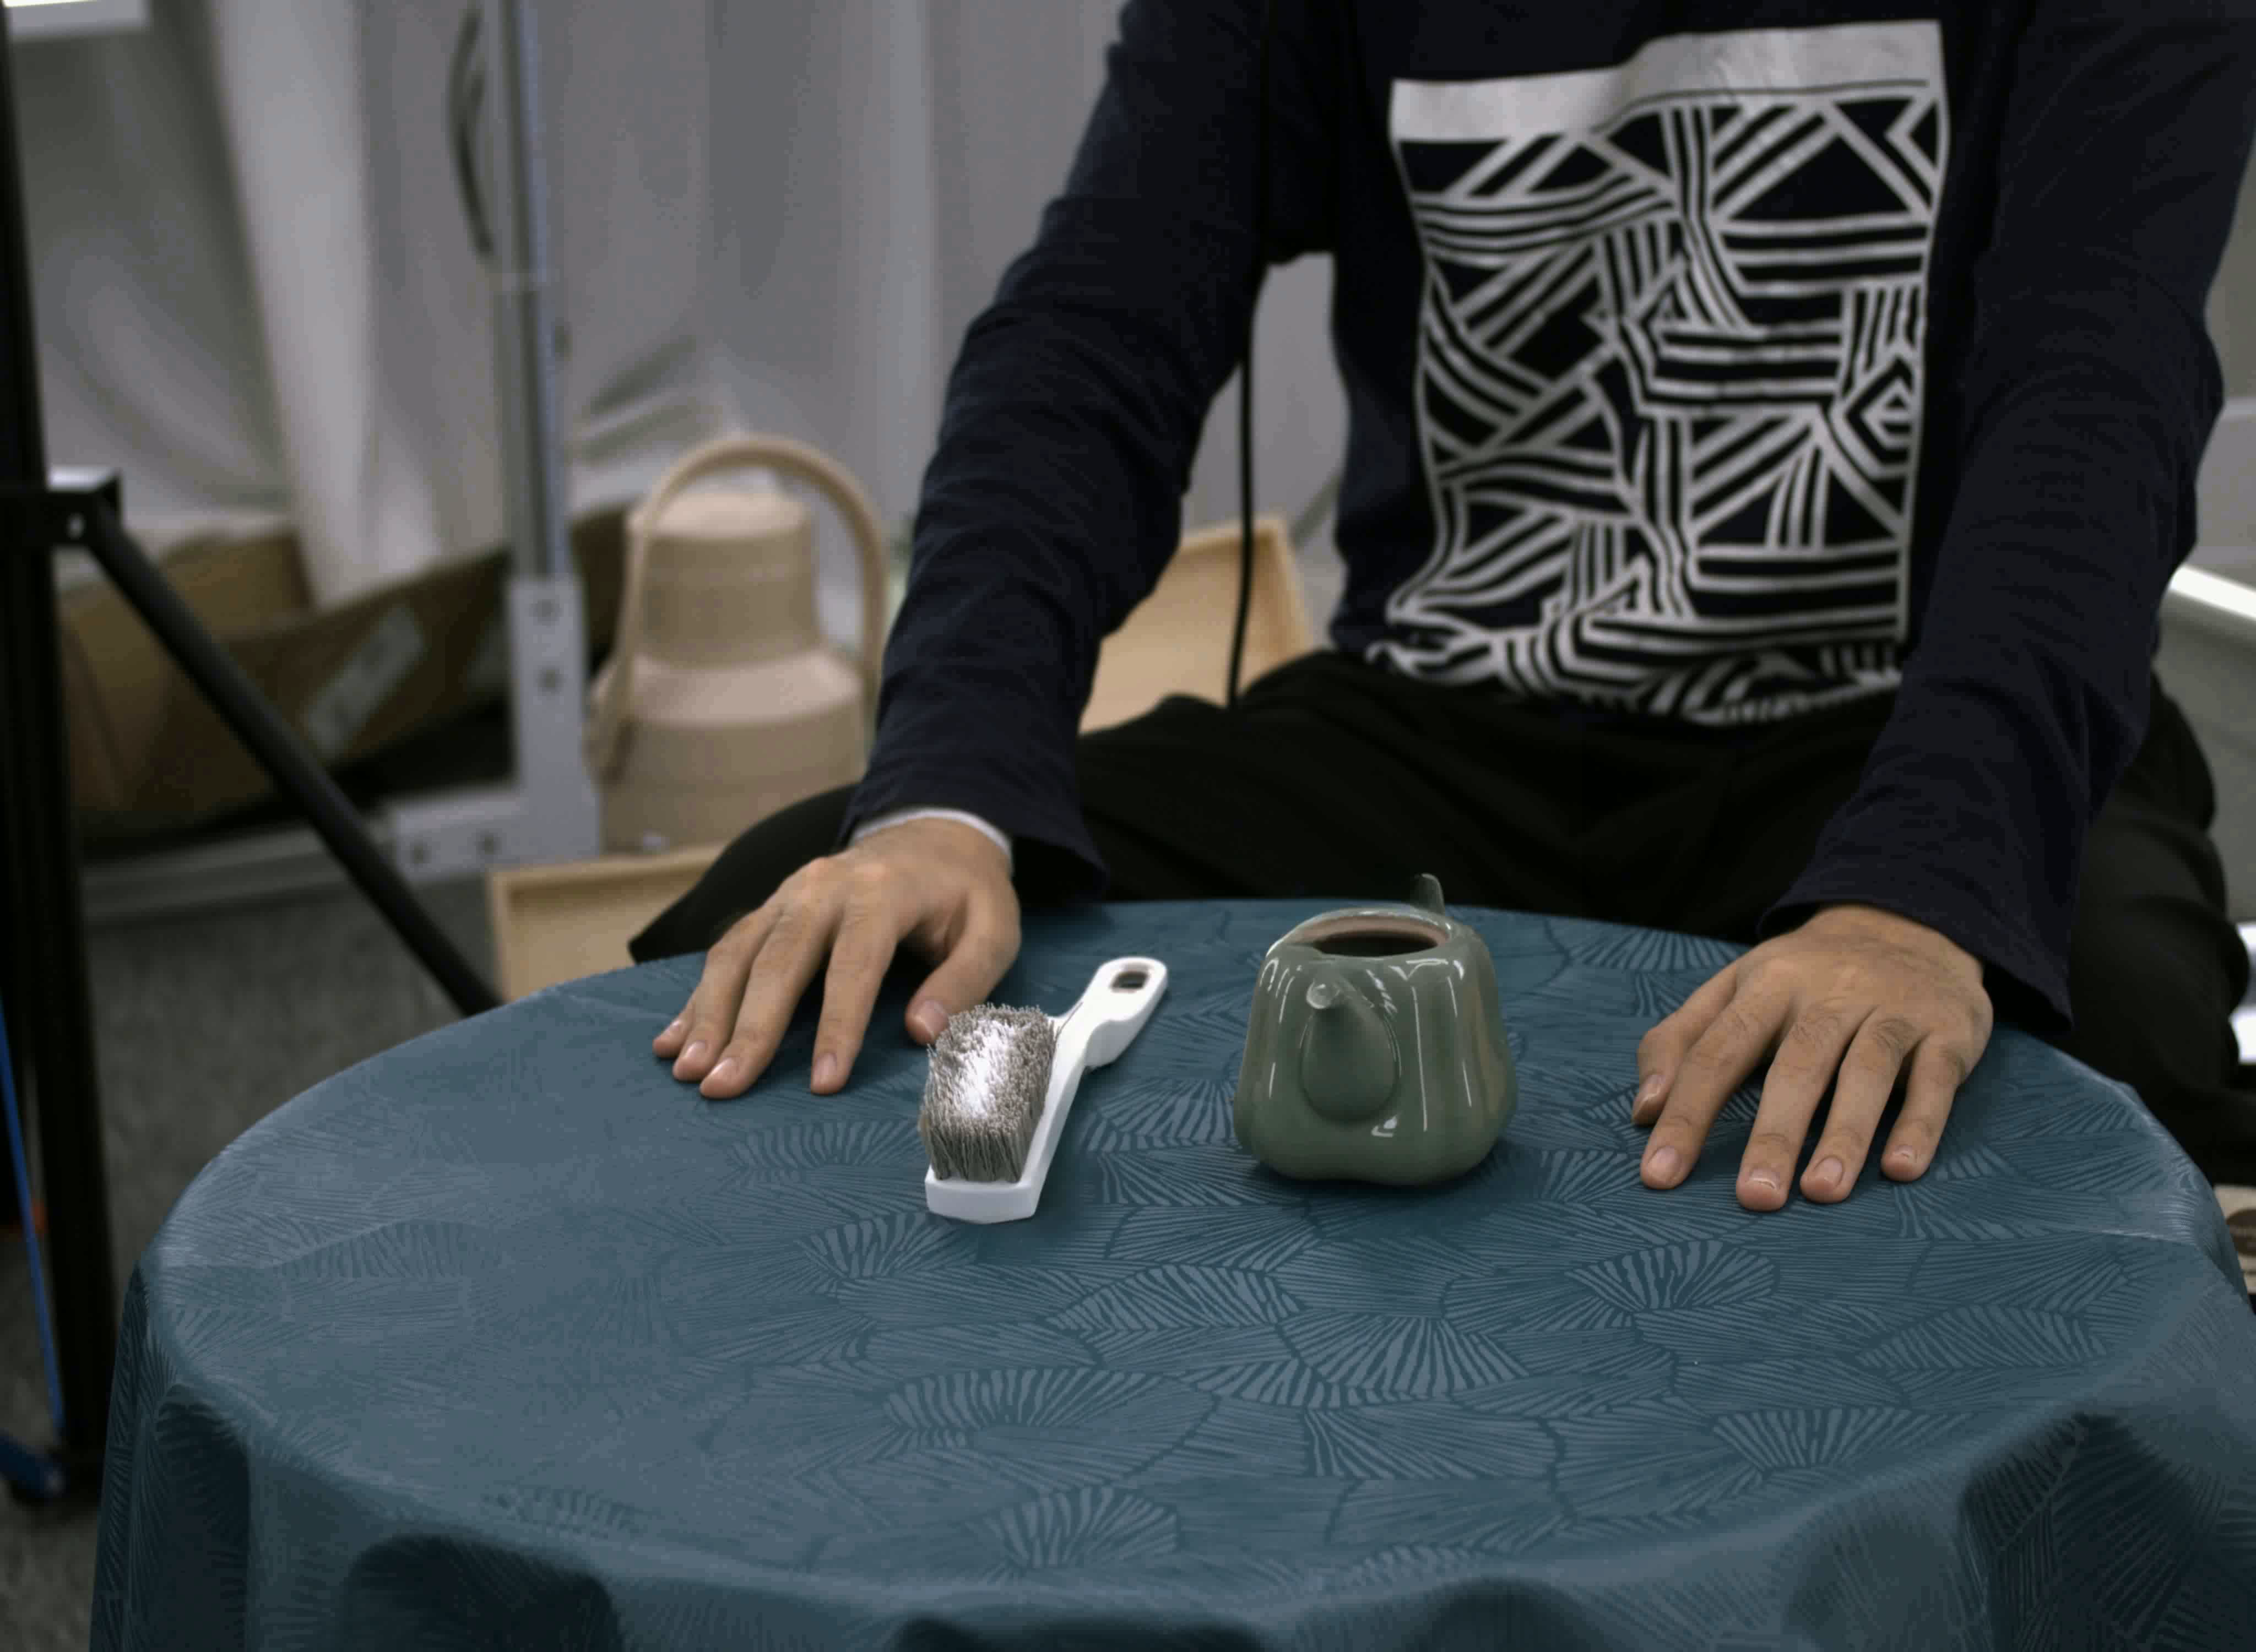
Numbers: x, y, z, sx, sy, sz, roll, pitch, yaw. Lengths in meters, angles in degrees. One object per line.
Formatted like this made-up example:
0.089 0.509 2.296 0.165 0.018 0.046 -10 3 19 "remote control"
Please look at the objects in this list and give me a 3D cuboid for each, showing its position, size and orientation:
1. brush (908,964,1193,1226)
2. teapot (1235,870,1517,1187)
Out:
-0.020 0.063 1.638 0.034 0.050 0.241 -3 15 16 "brush"
0.074 0.063 1.573 0.080 0.075 0.131 2 16 16 "teapot"
